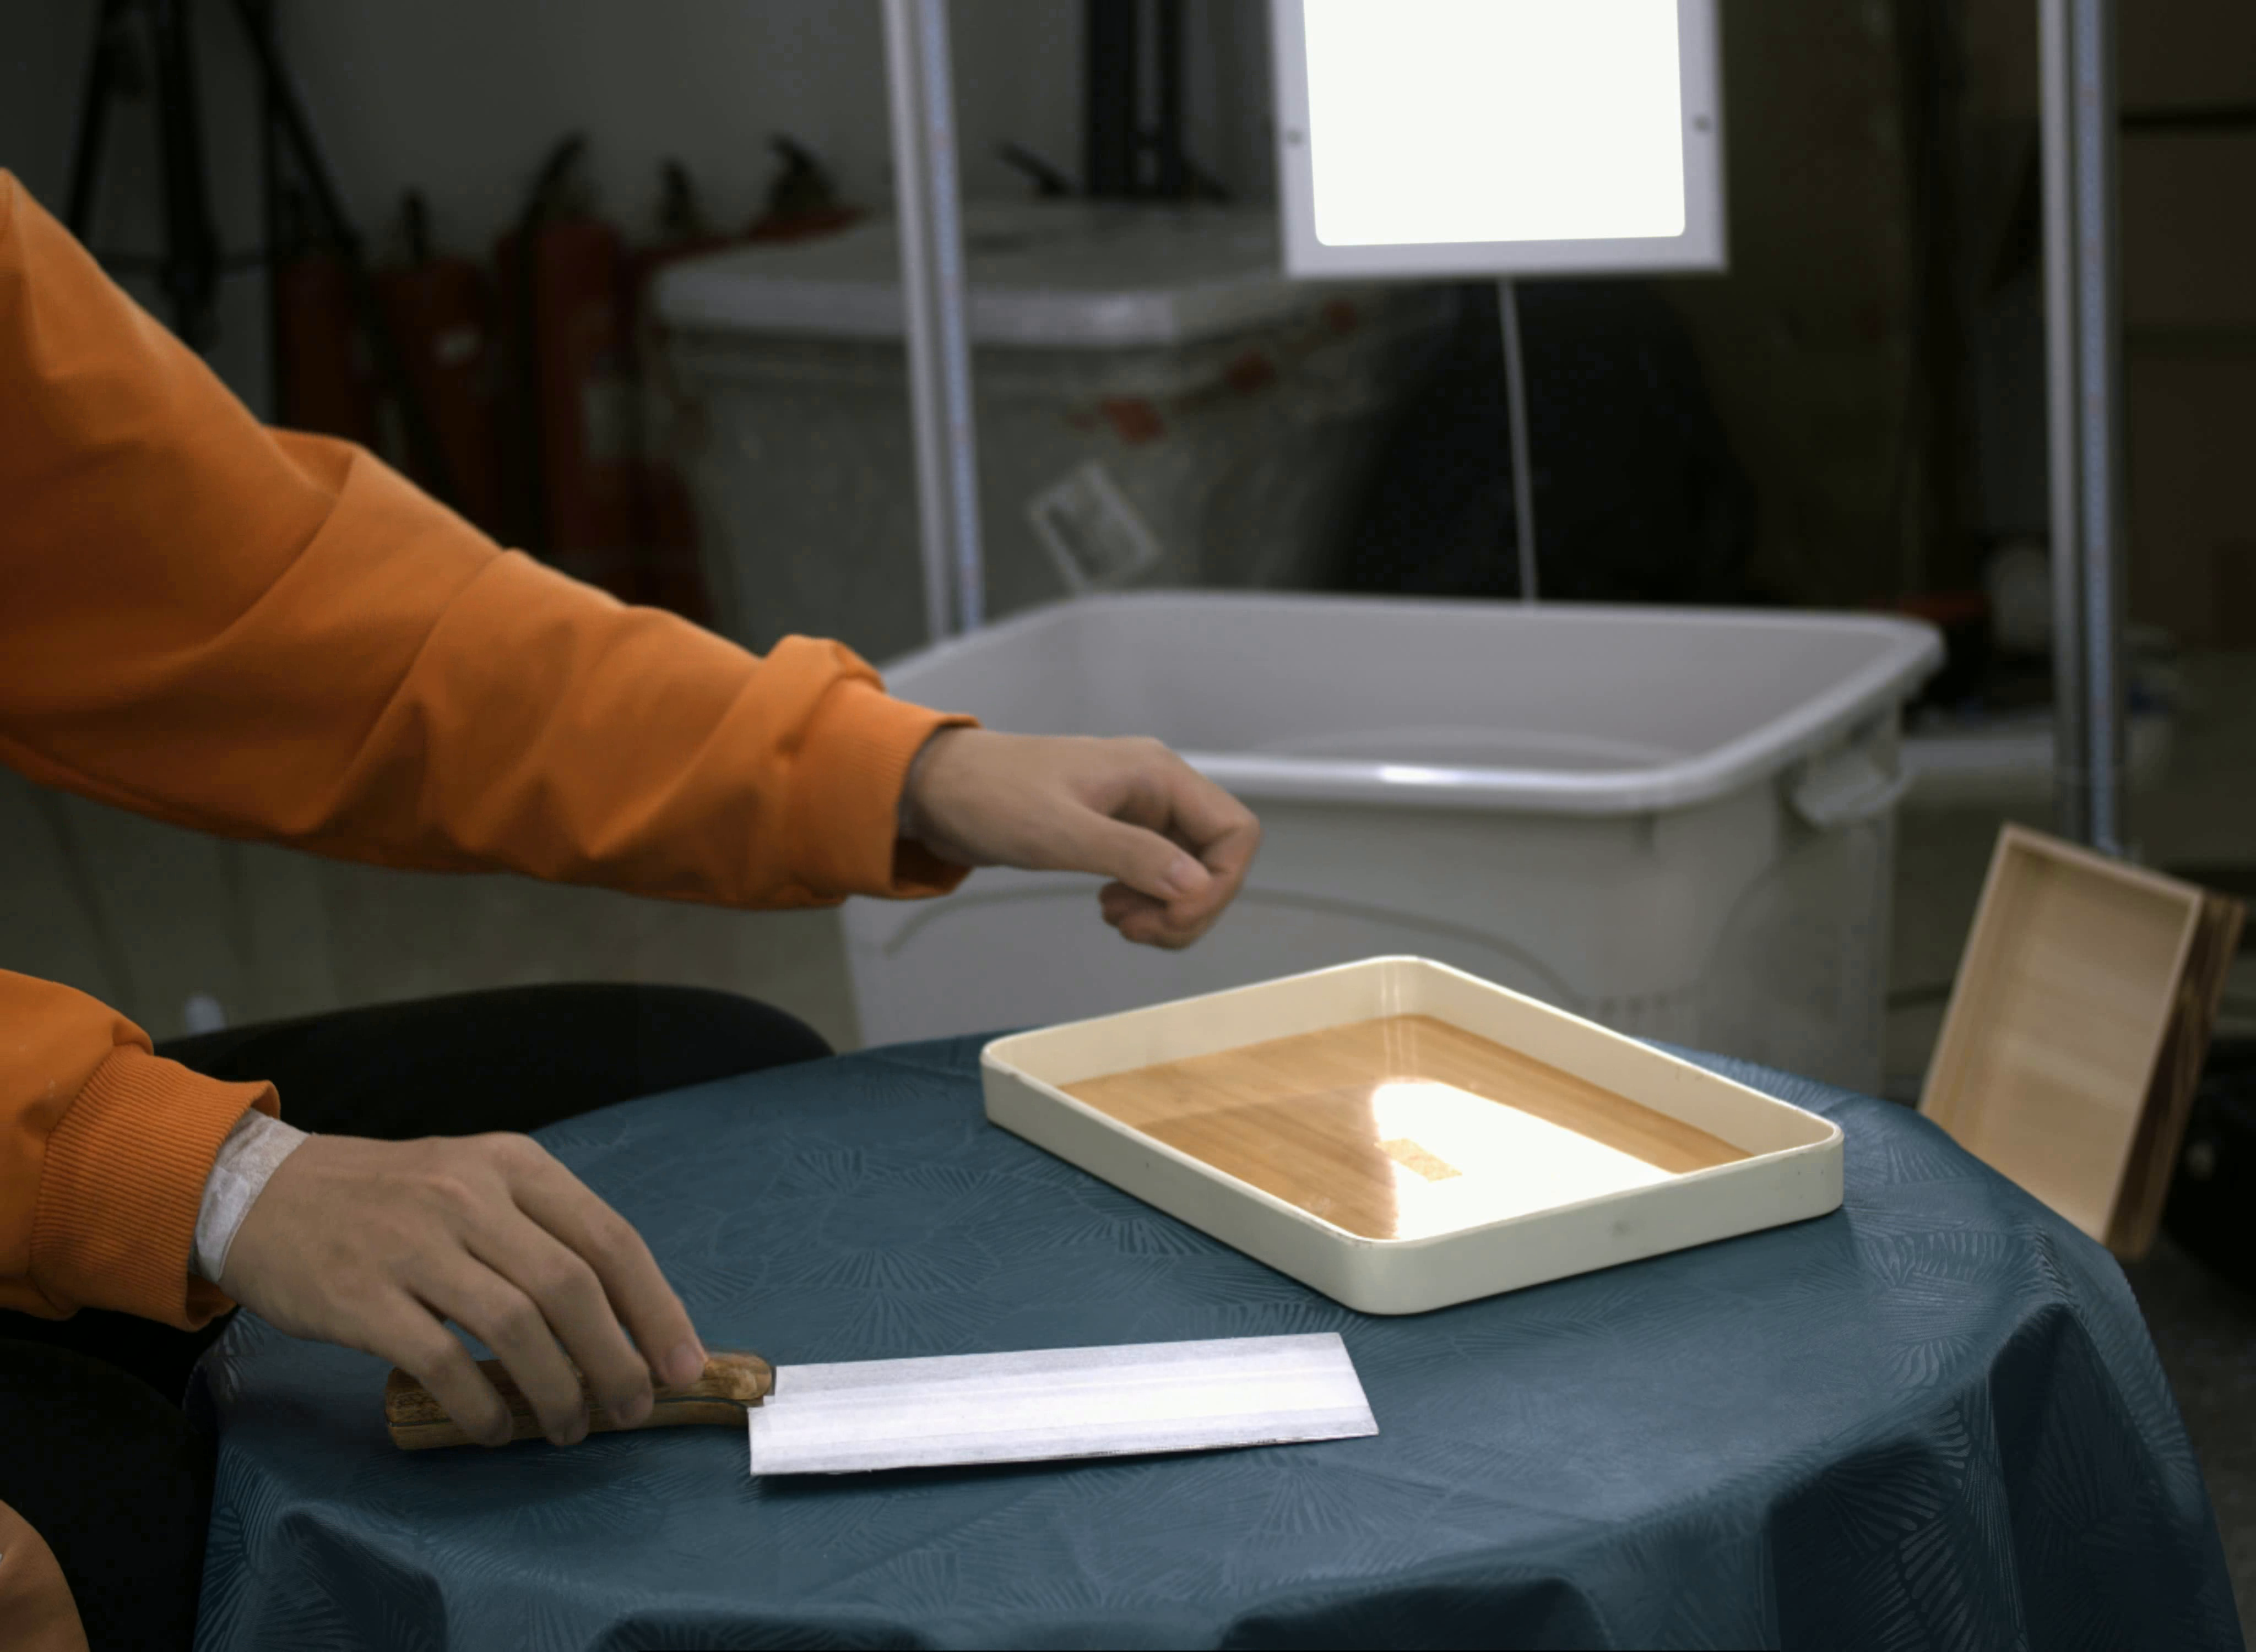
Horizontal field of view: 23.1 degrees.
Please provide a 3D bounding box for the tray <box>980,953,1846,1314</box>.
[{"bbox_3d":[0.093,0.102,1.903,0.188,0.027,0.305,-12,16,-24],"label":"tray"}]

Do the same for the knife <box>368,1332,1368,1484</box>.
[{"bbox_3d":[-0.080,0.179,1.682,0.304,0.021,0.093,-3,15,-2],"label":"knife"}]
